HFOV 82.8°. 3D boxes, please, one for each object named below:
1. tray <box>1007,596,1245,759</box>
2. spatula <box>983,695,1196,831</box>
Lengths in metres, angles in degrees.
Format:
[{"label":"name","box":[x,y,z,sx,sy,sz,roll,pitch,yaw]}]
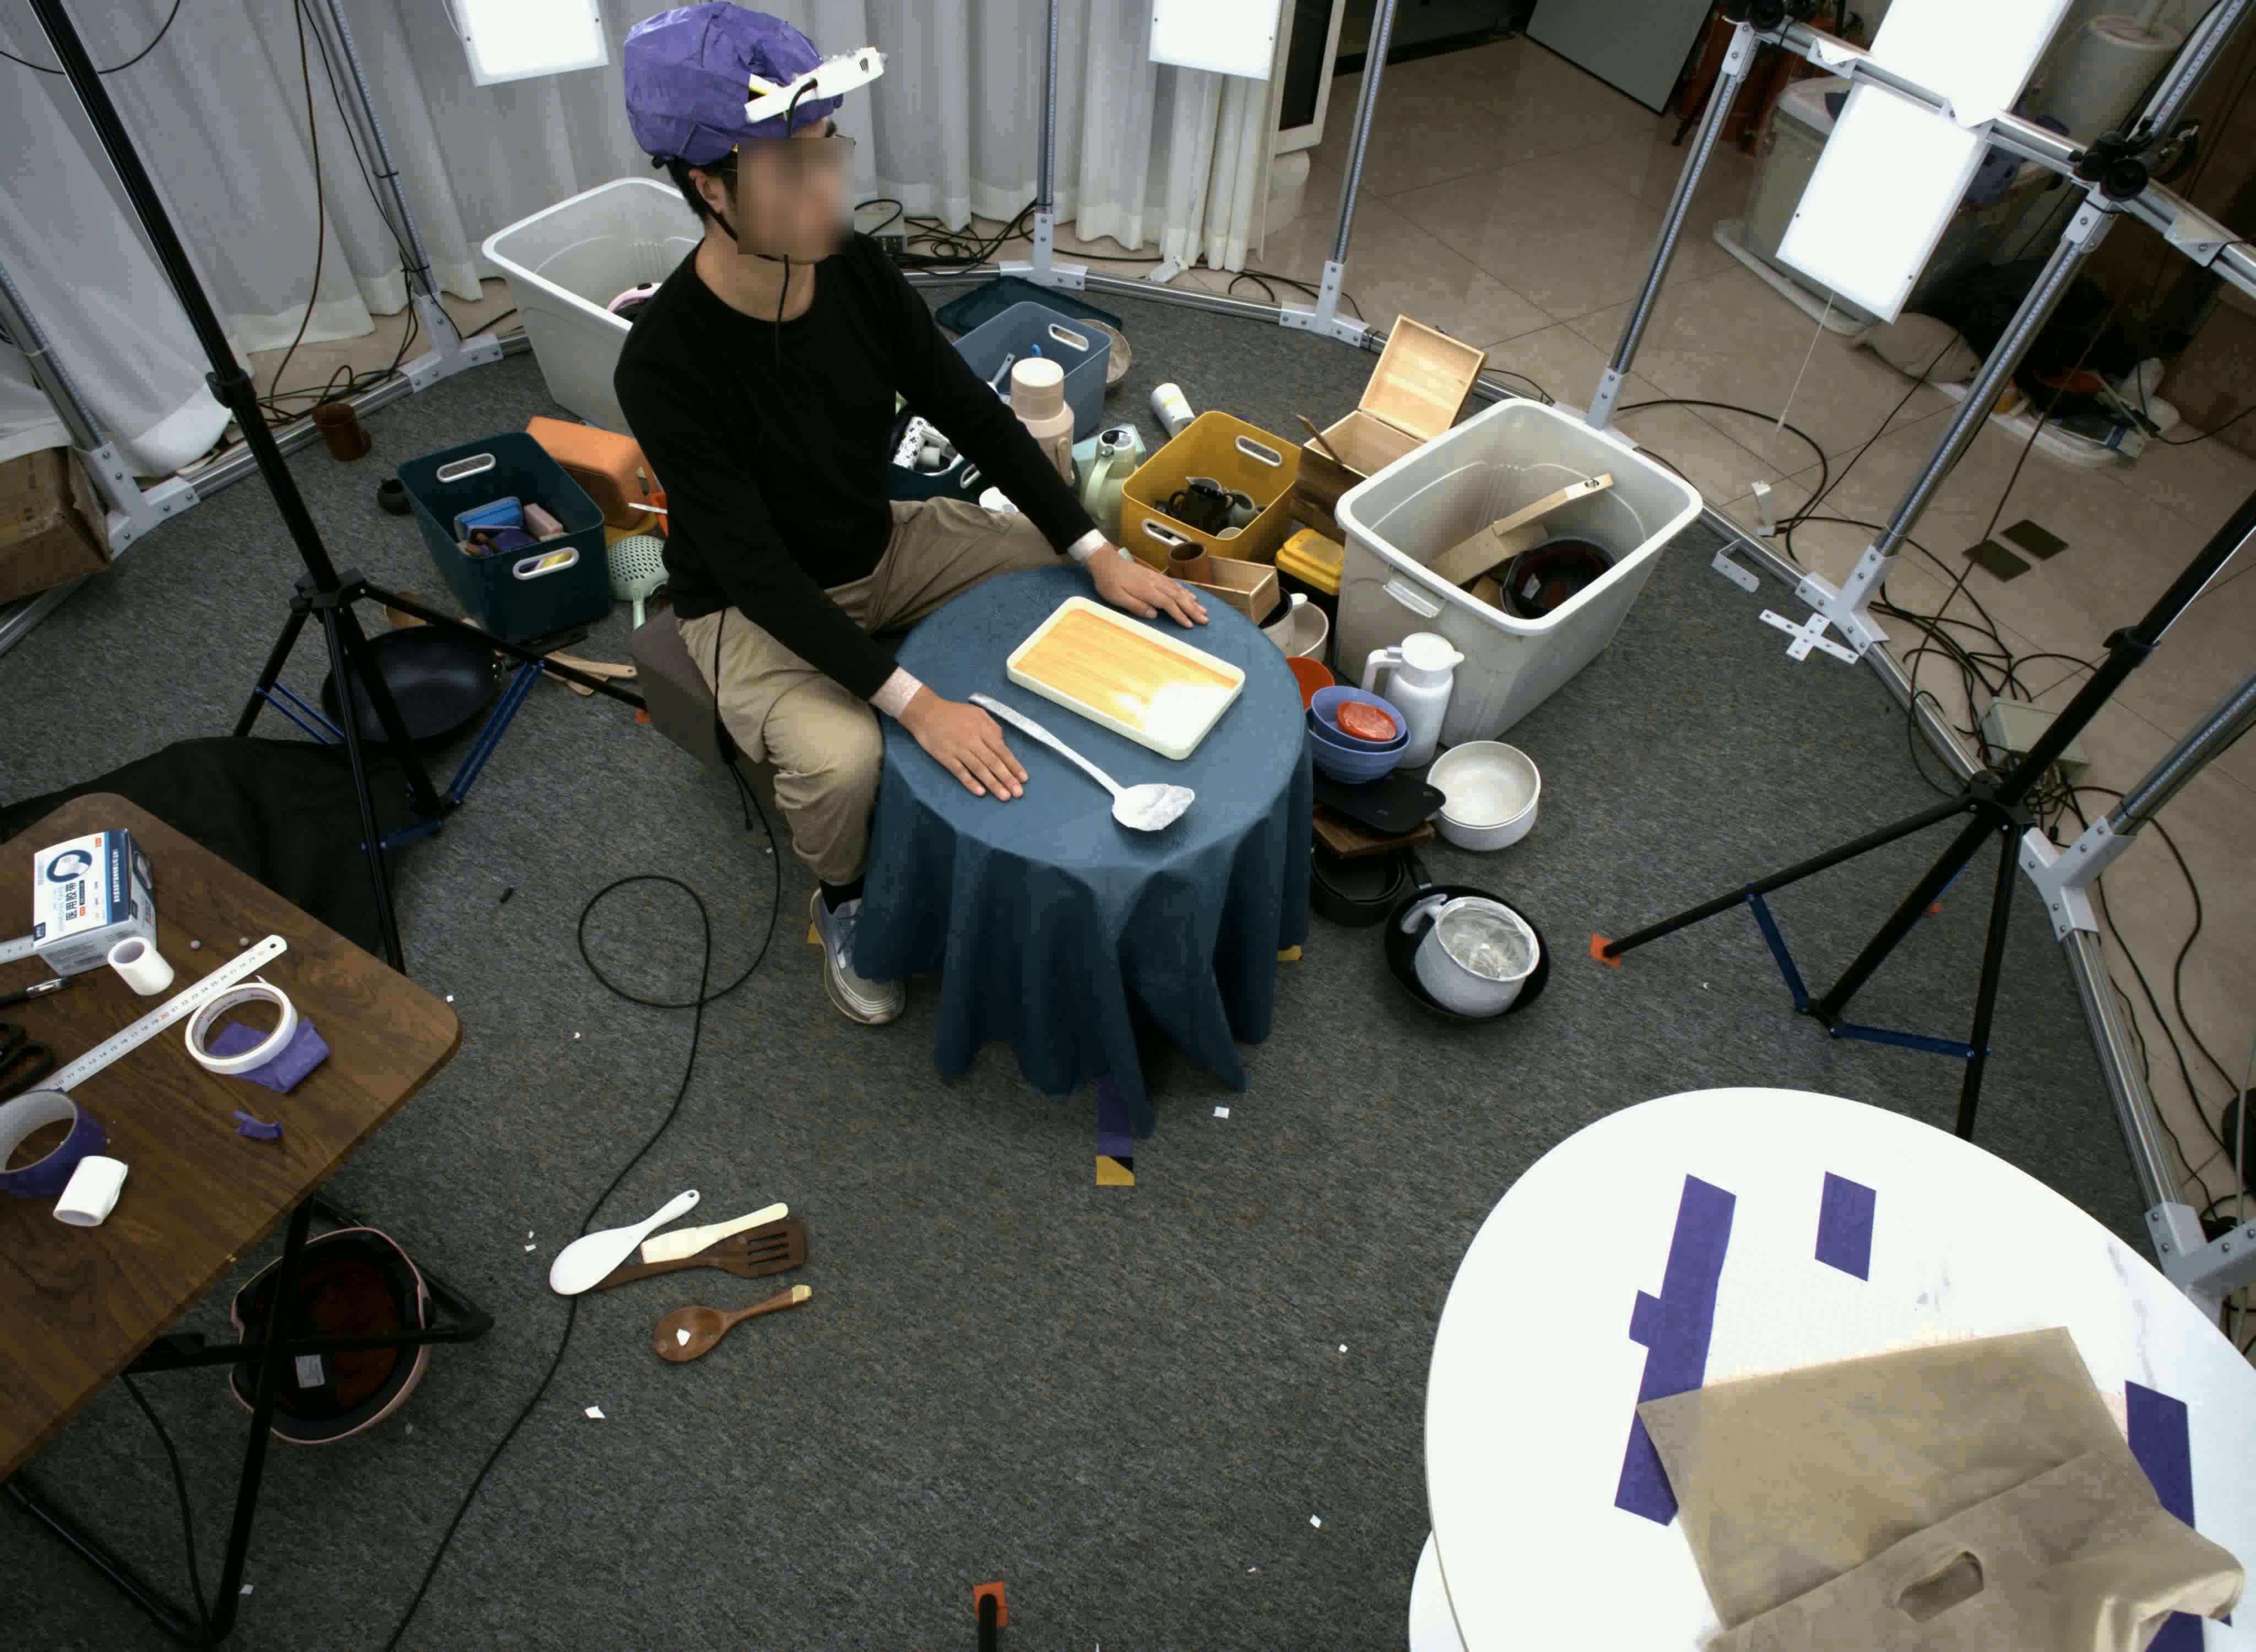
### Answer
[{"label":"tray","box":[-0.003,-0.217,1.841,0.303,0.027,0.194,27,53,19]},{"label":"spatula","box":[-0.071,-0.097,1.725,0.369,0.044,0.100,35,56,24]}]
